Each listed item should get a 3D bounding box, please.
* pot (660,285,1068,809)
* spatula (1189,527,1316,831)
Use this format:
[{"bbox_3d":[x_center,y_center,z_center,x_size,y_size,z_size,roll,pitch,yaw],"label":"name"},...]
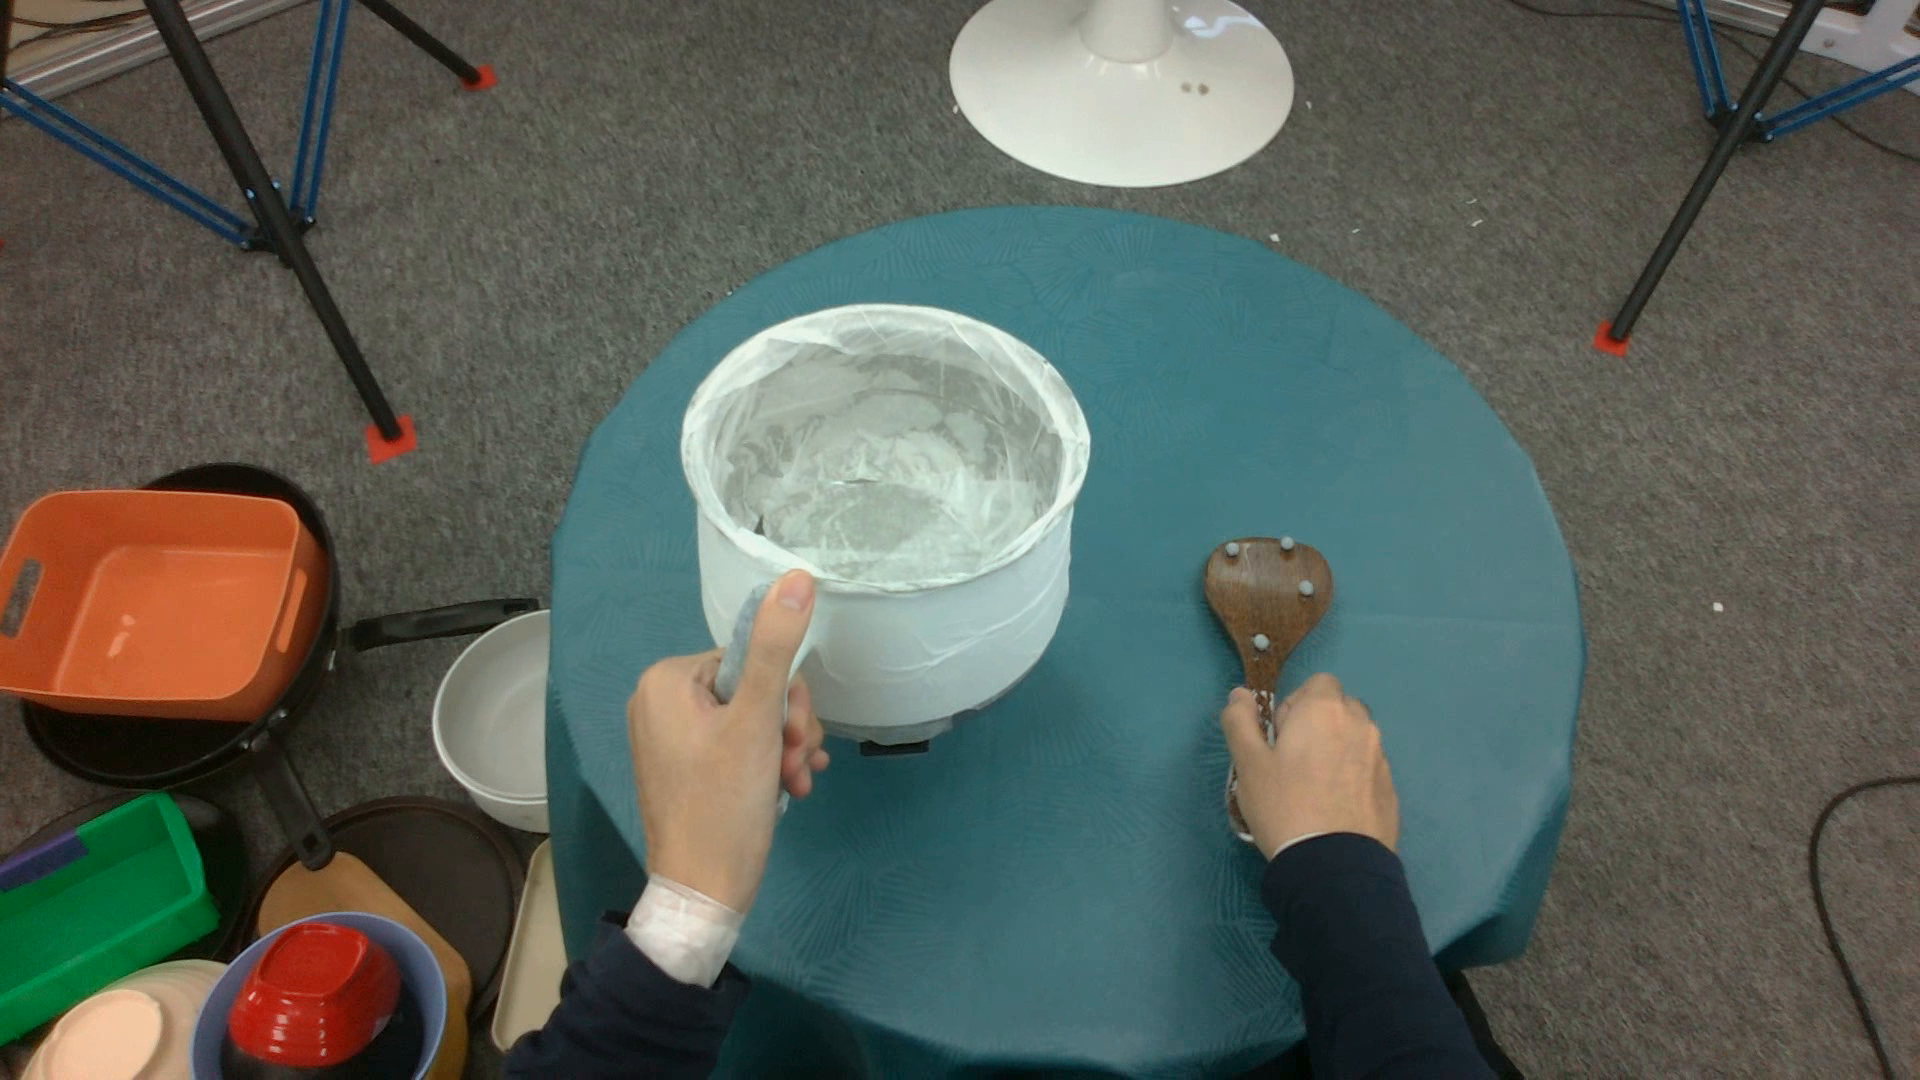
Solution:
[{"bbox_3d":[-0.053,0.005,0.627,0.178,0.136,0.235,18,49,13],"label":"pot"},{"bbox_3d":[0.156,0.066,0.743,0.072,0.009,0.217,-1,44,14],"label":"spatula"}]
